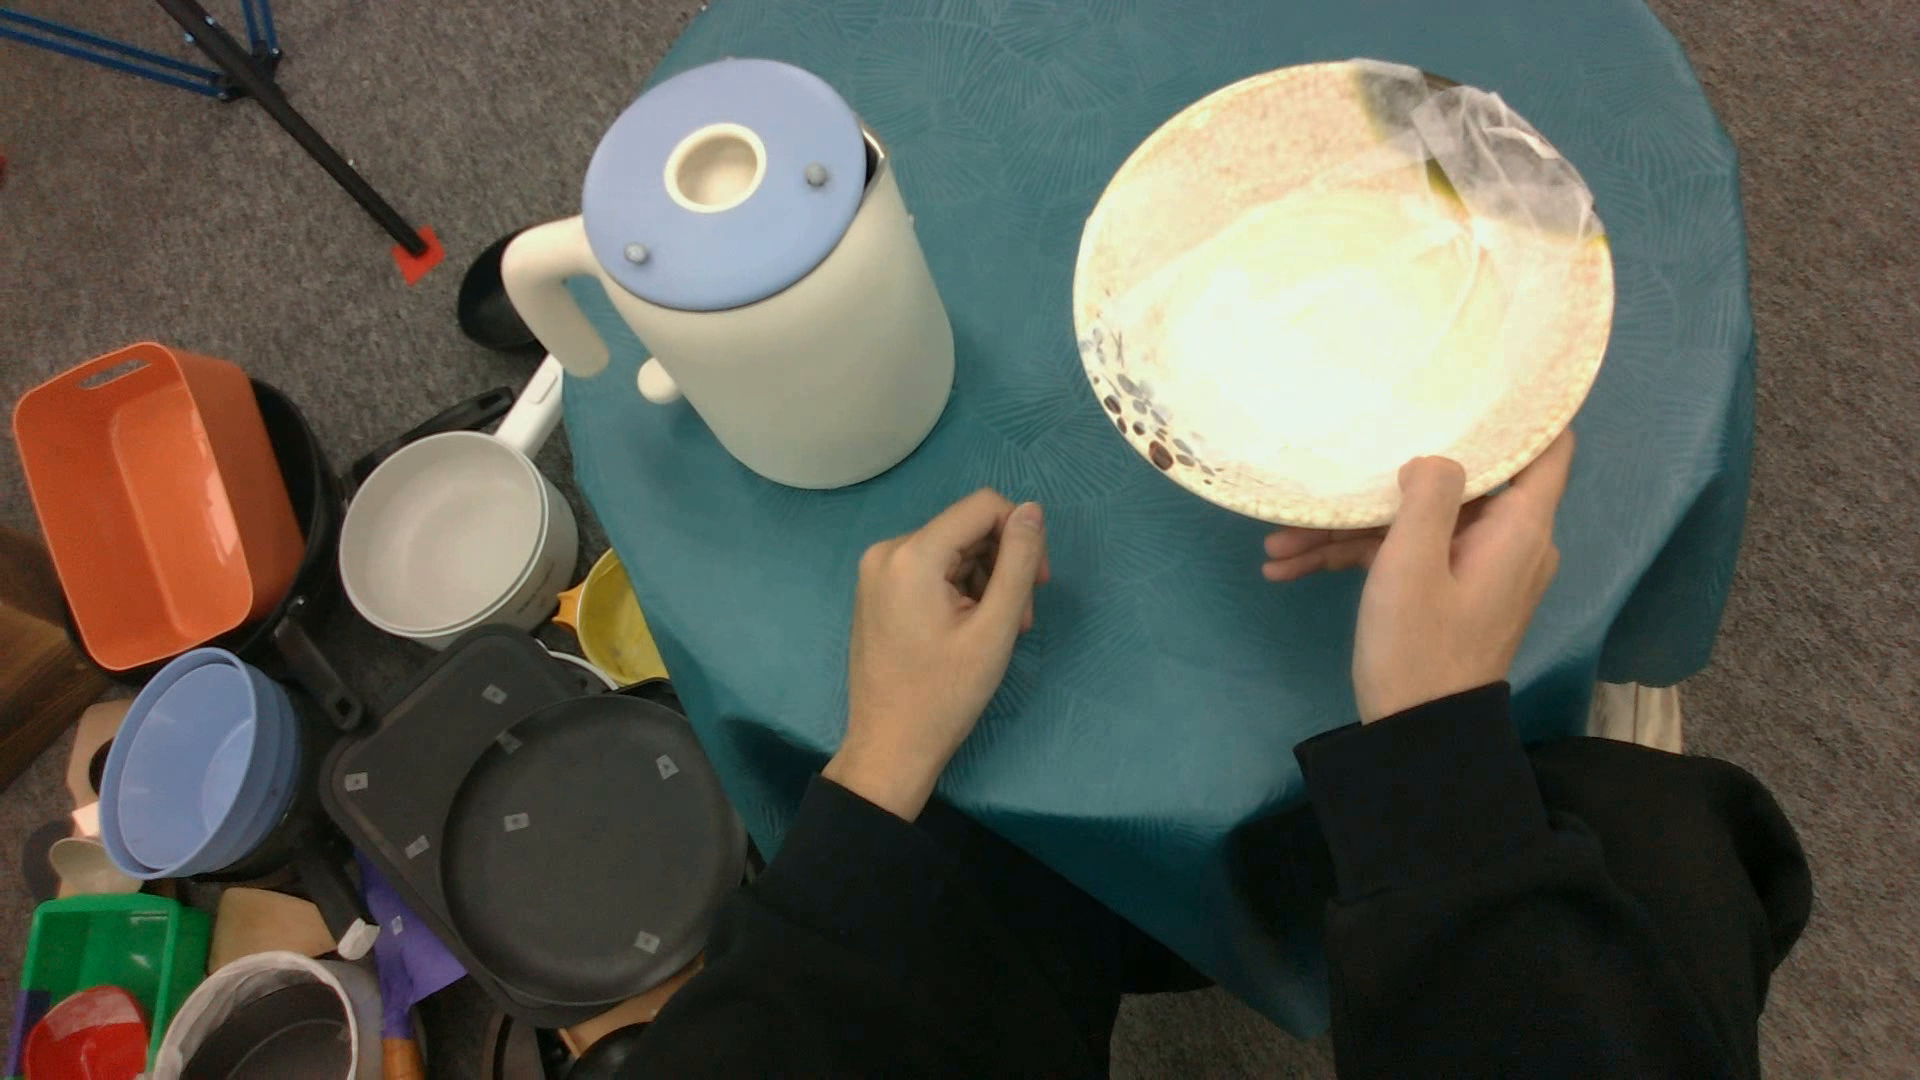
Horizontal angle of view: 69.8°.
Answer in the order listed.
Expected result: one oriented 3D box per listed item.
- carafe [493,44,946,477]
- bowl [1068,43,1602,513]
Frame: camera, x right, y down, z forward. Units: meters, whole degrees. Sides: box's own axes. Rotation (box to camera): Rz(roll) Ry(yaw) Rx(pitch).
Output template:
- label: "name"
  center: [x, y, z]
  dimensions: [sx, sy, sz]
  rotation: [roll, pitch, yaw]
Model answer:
- label: "carafe"
  center: [-0.108, -0.116, 0.629]
  dimensions: [0.191, 0.182, 0.132]
  rotation: [-11, 66, 9]
- label: "bowl"
  center: [0.151, -0.098, 0.576]
  dimensions: [0.204, 0.078, 0.204]
  rotation: [-3, 73, 11]
